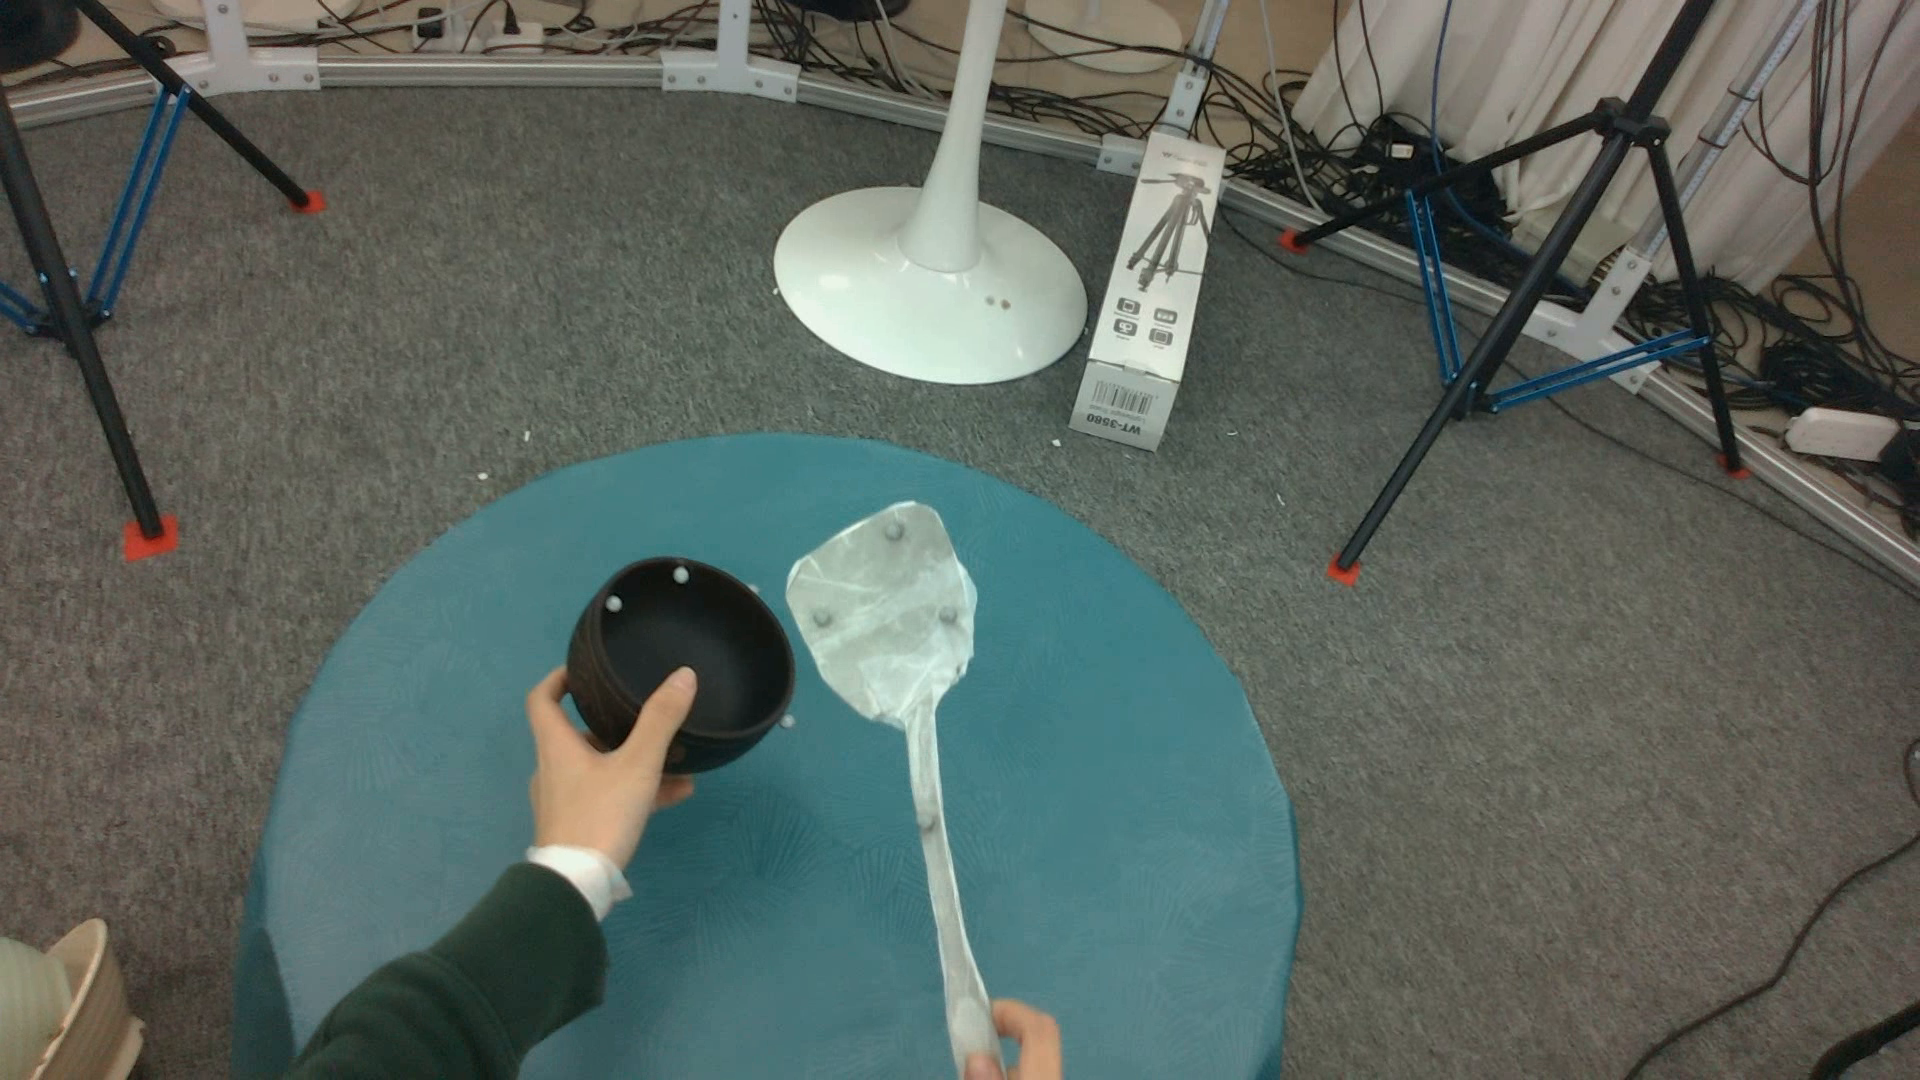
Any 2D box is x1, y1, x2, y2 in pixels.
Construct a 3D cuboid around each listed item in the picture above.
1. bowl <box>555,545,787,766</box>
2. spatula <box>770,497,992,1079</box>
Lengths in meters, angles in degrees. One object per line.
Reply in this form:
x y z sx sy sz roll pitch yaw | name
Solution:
-0.159 0.068 0.733 0.118 0.069 0.118 24 41 -22 | bowl
-0.018 0.145 0.629 0.098 0.045 0.366 -25 55 17 | spatula
